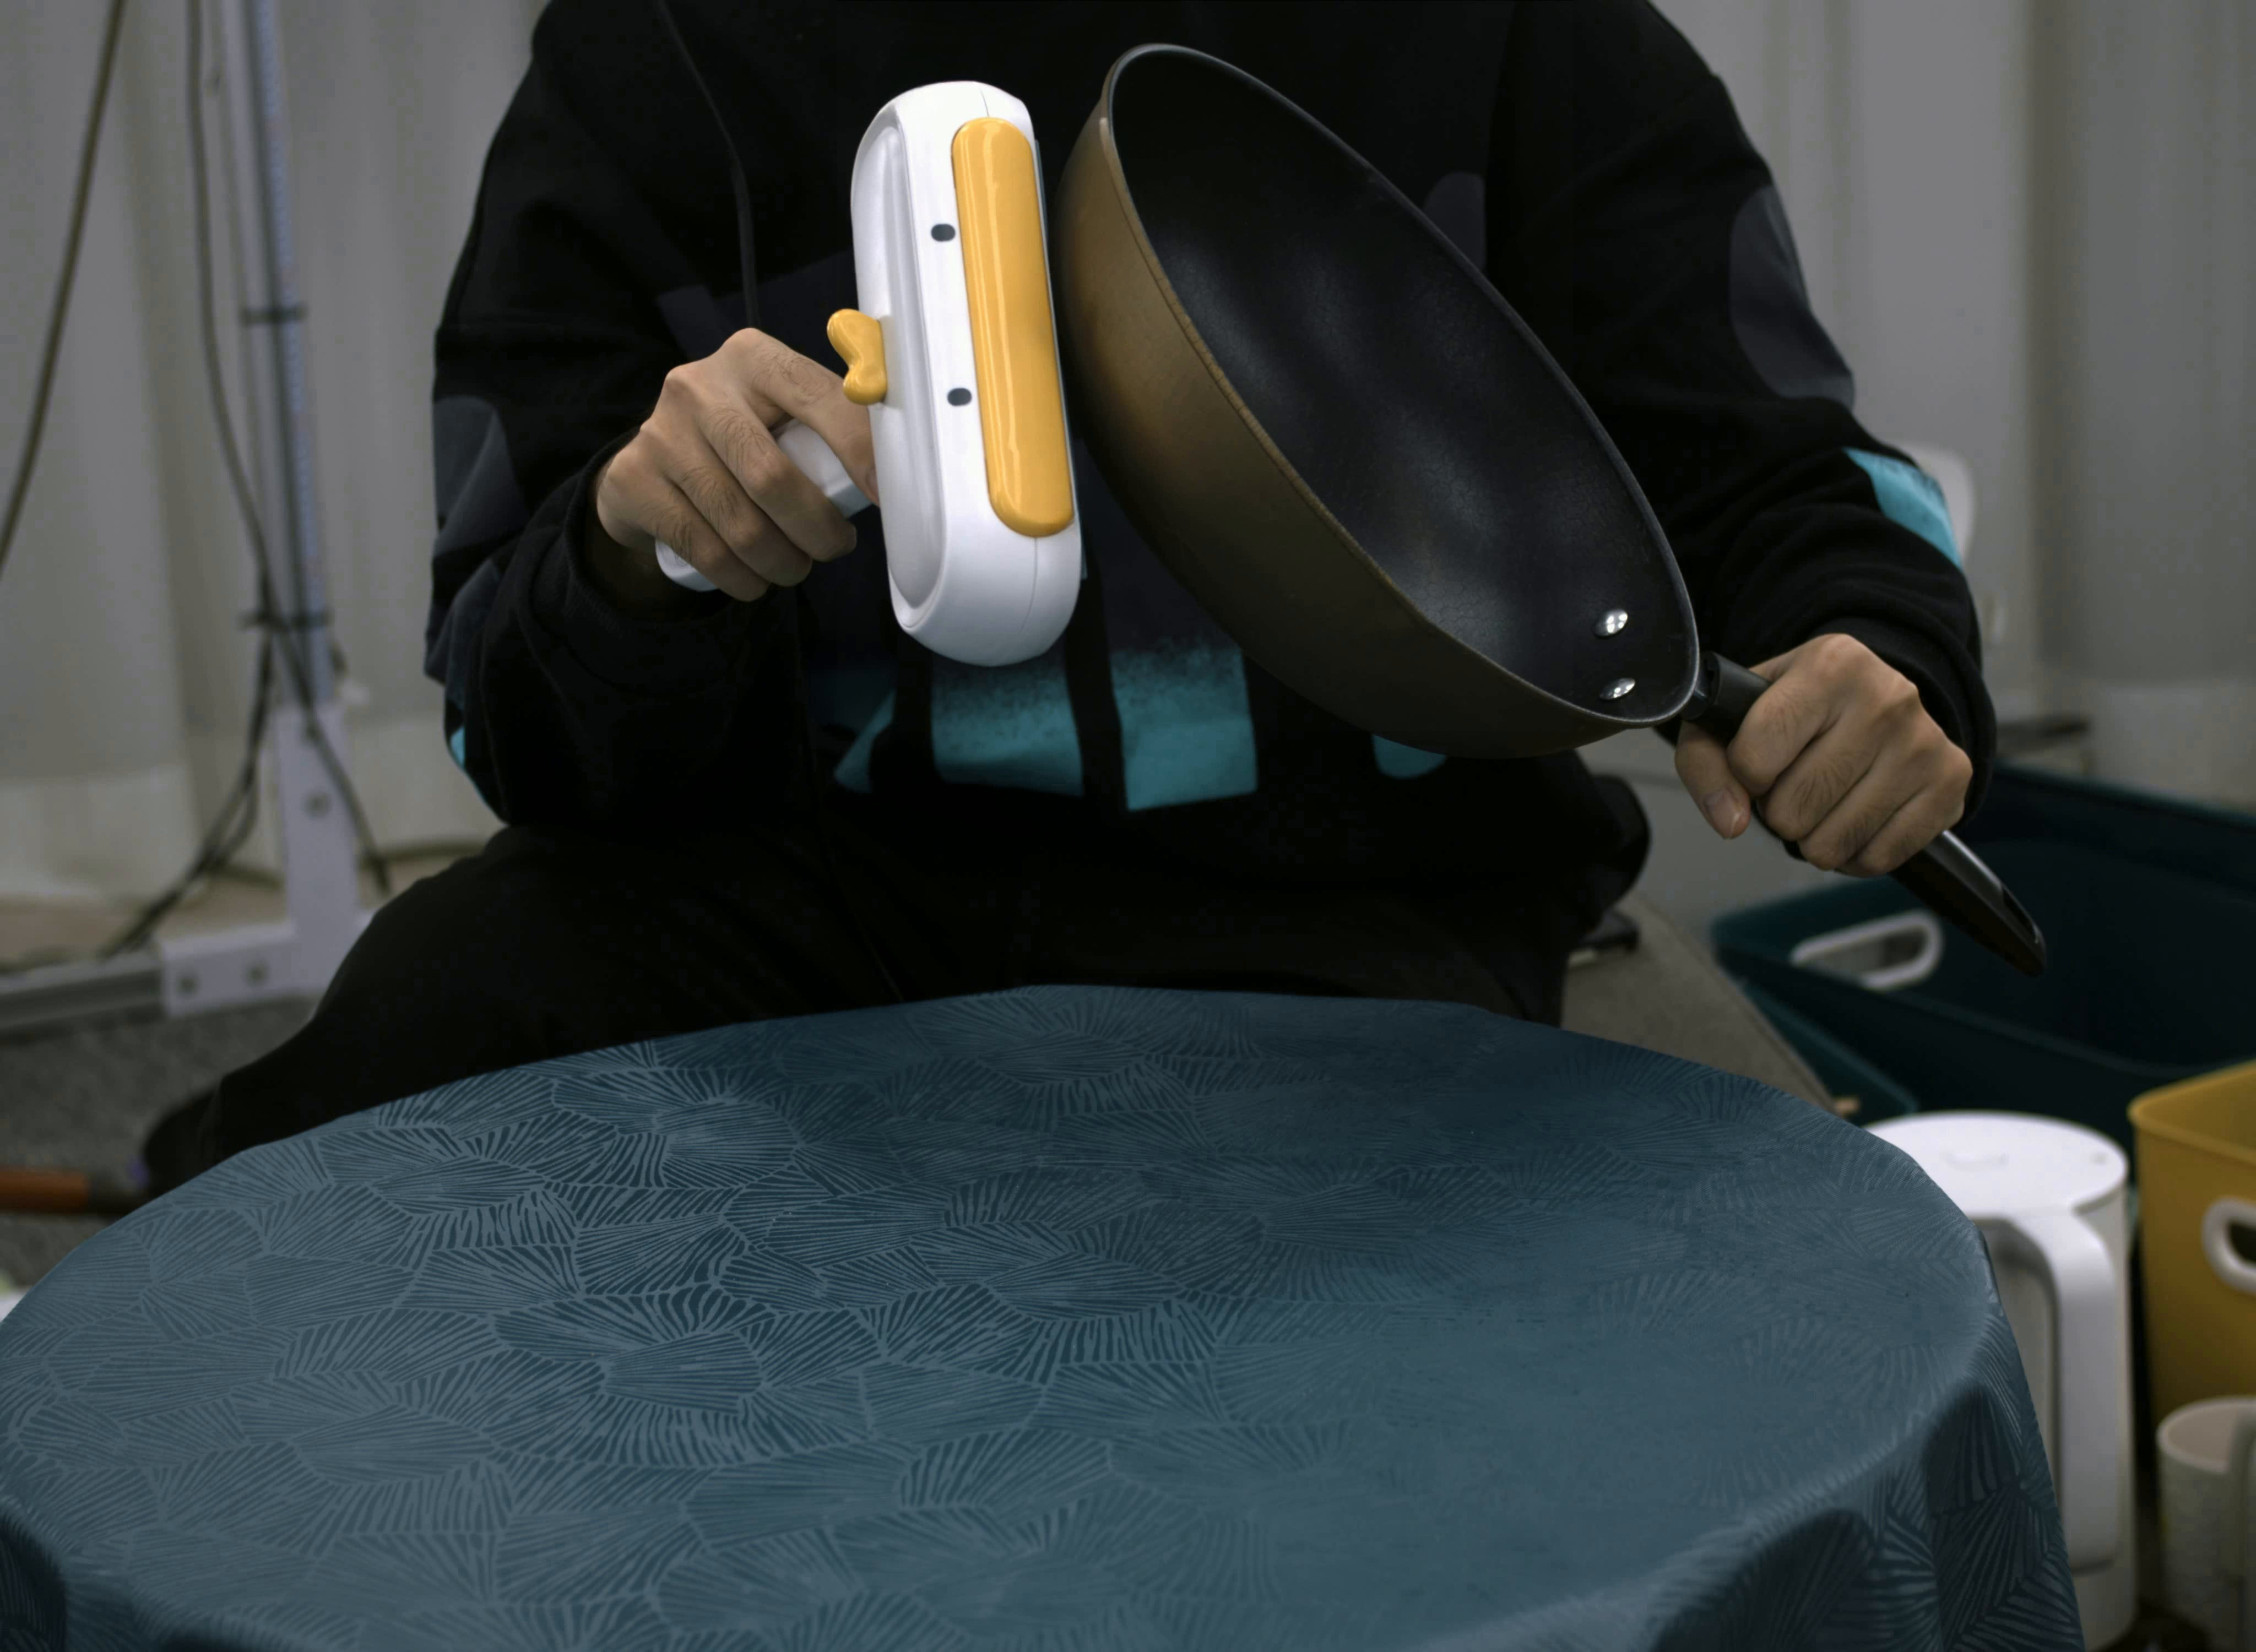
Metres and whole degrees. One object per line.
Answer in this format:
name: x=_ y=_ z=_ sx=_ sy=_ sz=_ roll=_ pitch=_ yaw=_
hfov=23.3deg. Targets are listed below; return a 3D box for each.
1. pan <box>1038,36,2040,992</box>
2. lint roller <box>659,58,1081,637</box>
pan: x=0.127 y=-0.070 z=1.822 sx=0.086 sy=0.459 sz=0.292 roll=-40 pitch=25 yaw=23
lint roller: x=-0.087 y=-0.126 z=1.769 sx=0.073 sy=0.195 sz=0.191 roll=3 pitch=-28 yaw=-31
